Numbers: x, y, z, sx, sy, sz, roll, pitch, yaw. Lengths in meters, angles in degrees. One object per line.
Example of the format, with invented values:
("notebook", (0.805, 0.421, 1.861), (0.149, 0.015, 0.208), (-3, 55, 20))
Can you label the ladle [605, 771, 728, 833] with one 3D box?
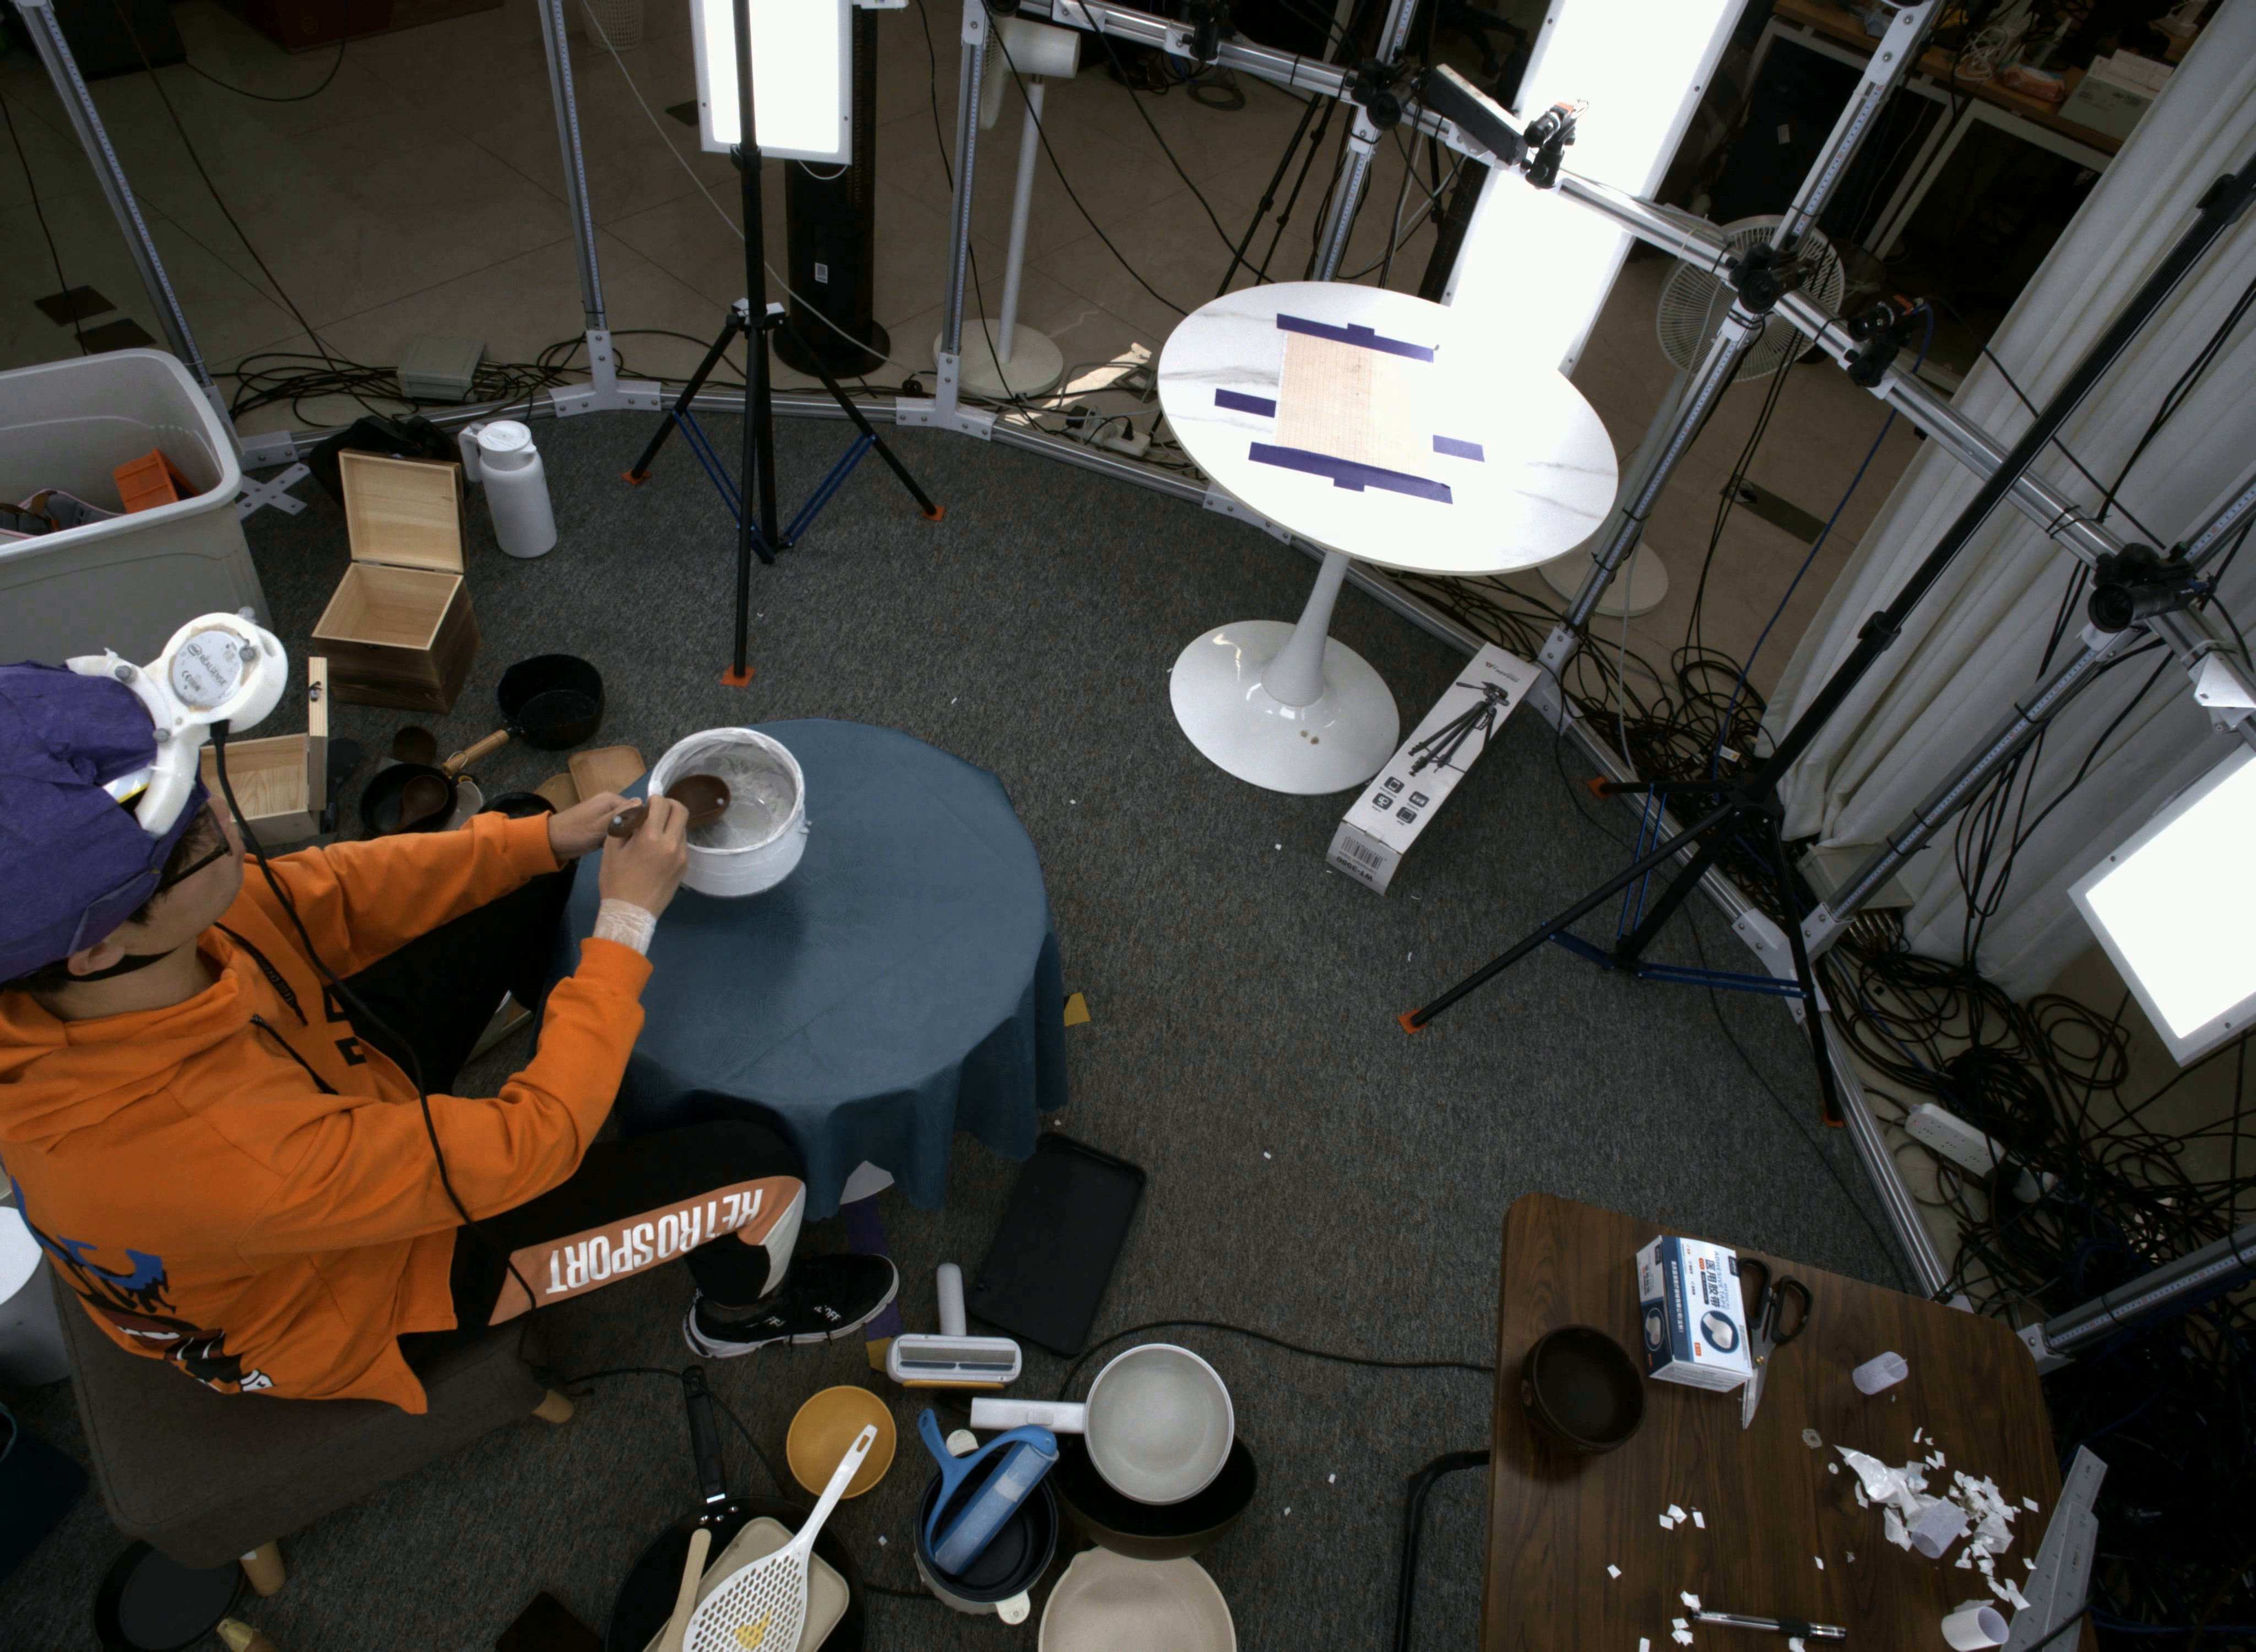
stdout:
("ladle", (-0.511, -0.030, 1.408), (0.075, 0.260, 0.066), (5, 92, 3))

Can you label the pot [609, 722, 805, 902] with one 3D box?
("pot", (-0.497, -0.007, 1.516), (0.234, 0.139, 0.175), (-12, 61, -21))
